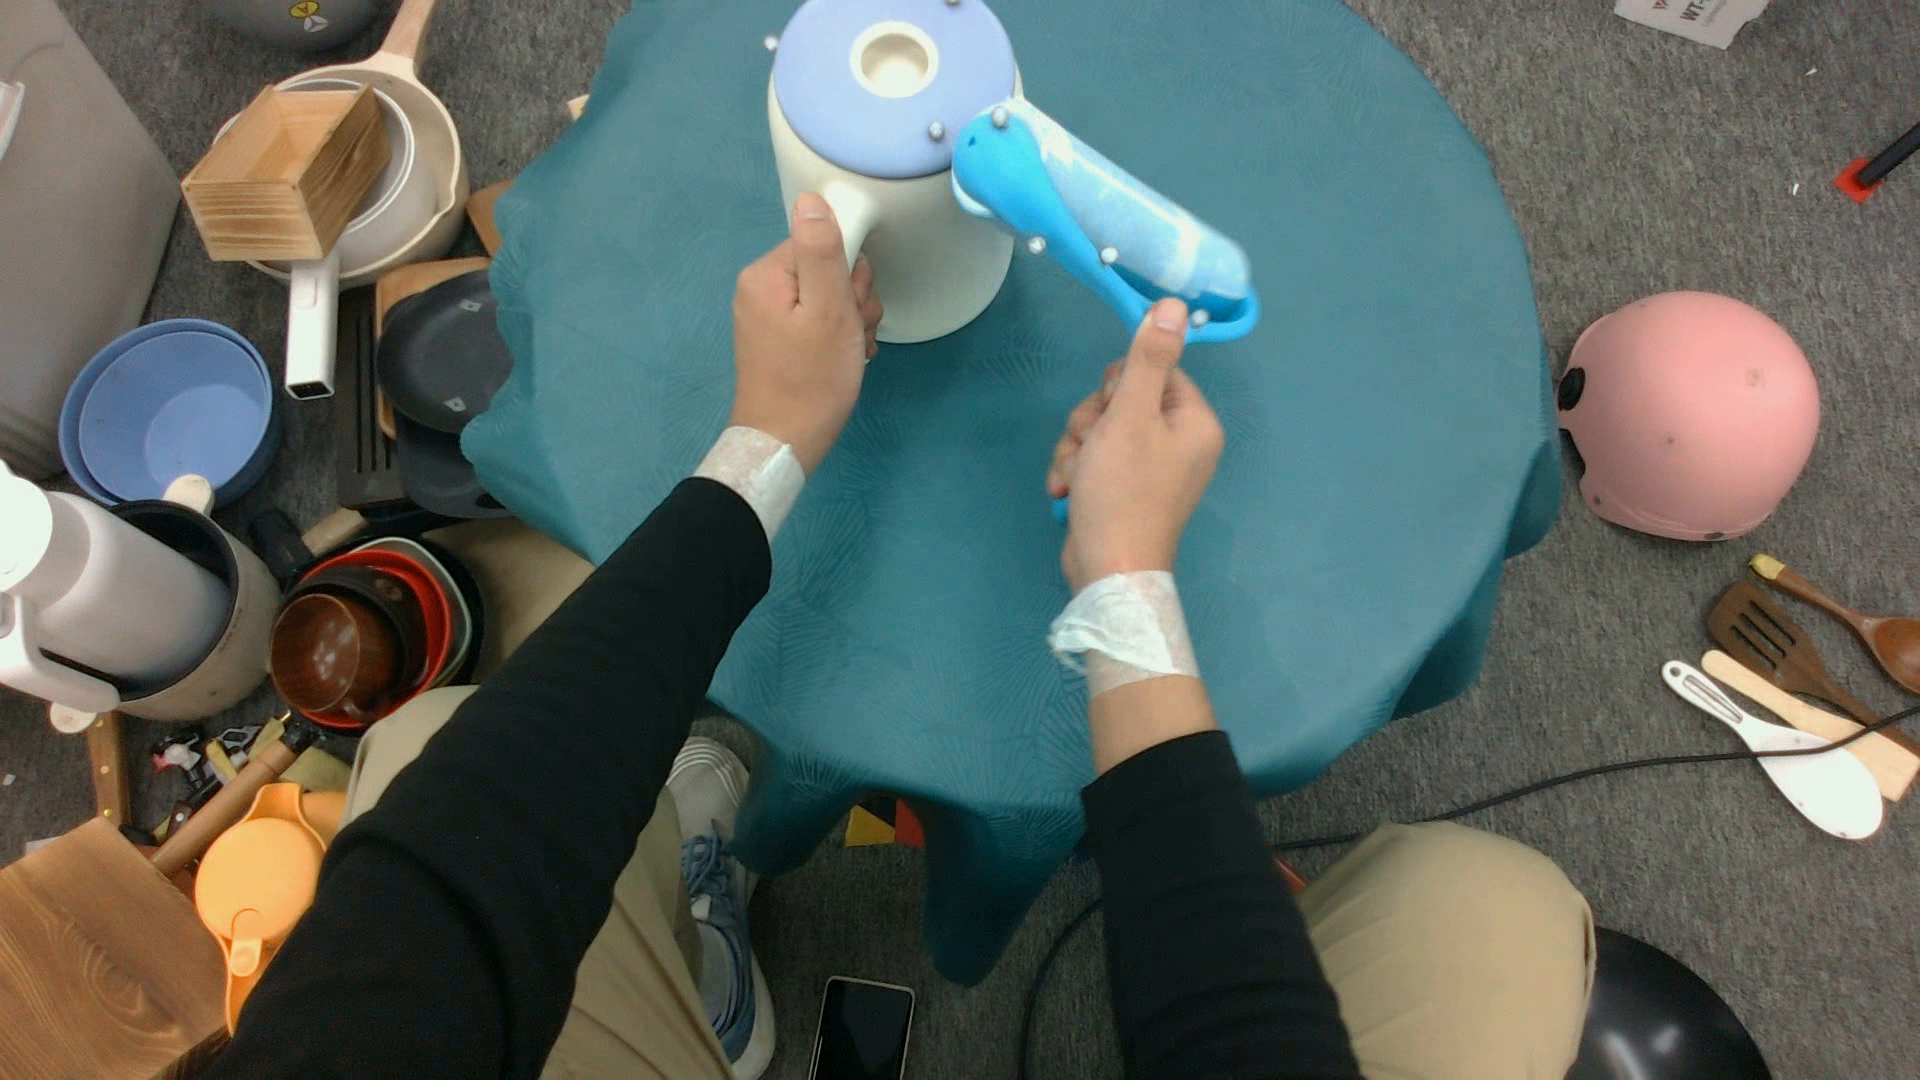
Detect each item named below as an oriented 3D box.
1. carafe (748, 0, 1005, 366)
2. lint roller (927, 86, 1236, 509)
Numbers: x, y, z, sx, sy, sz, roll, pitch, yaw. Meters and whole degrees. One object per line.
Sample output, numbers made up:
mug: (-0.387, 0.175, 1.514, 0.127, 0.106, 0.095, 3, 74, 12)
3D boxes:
carafe: (-0.051, -0.189, 0.743, 0.132, 0.182, 0.191, 17, 74, 4)
lint roller: (0.067, -0.107, 0.683, 0.067, 0.229, 0.180, -9, 79, 37)
